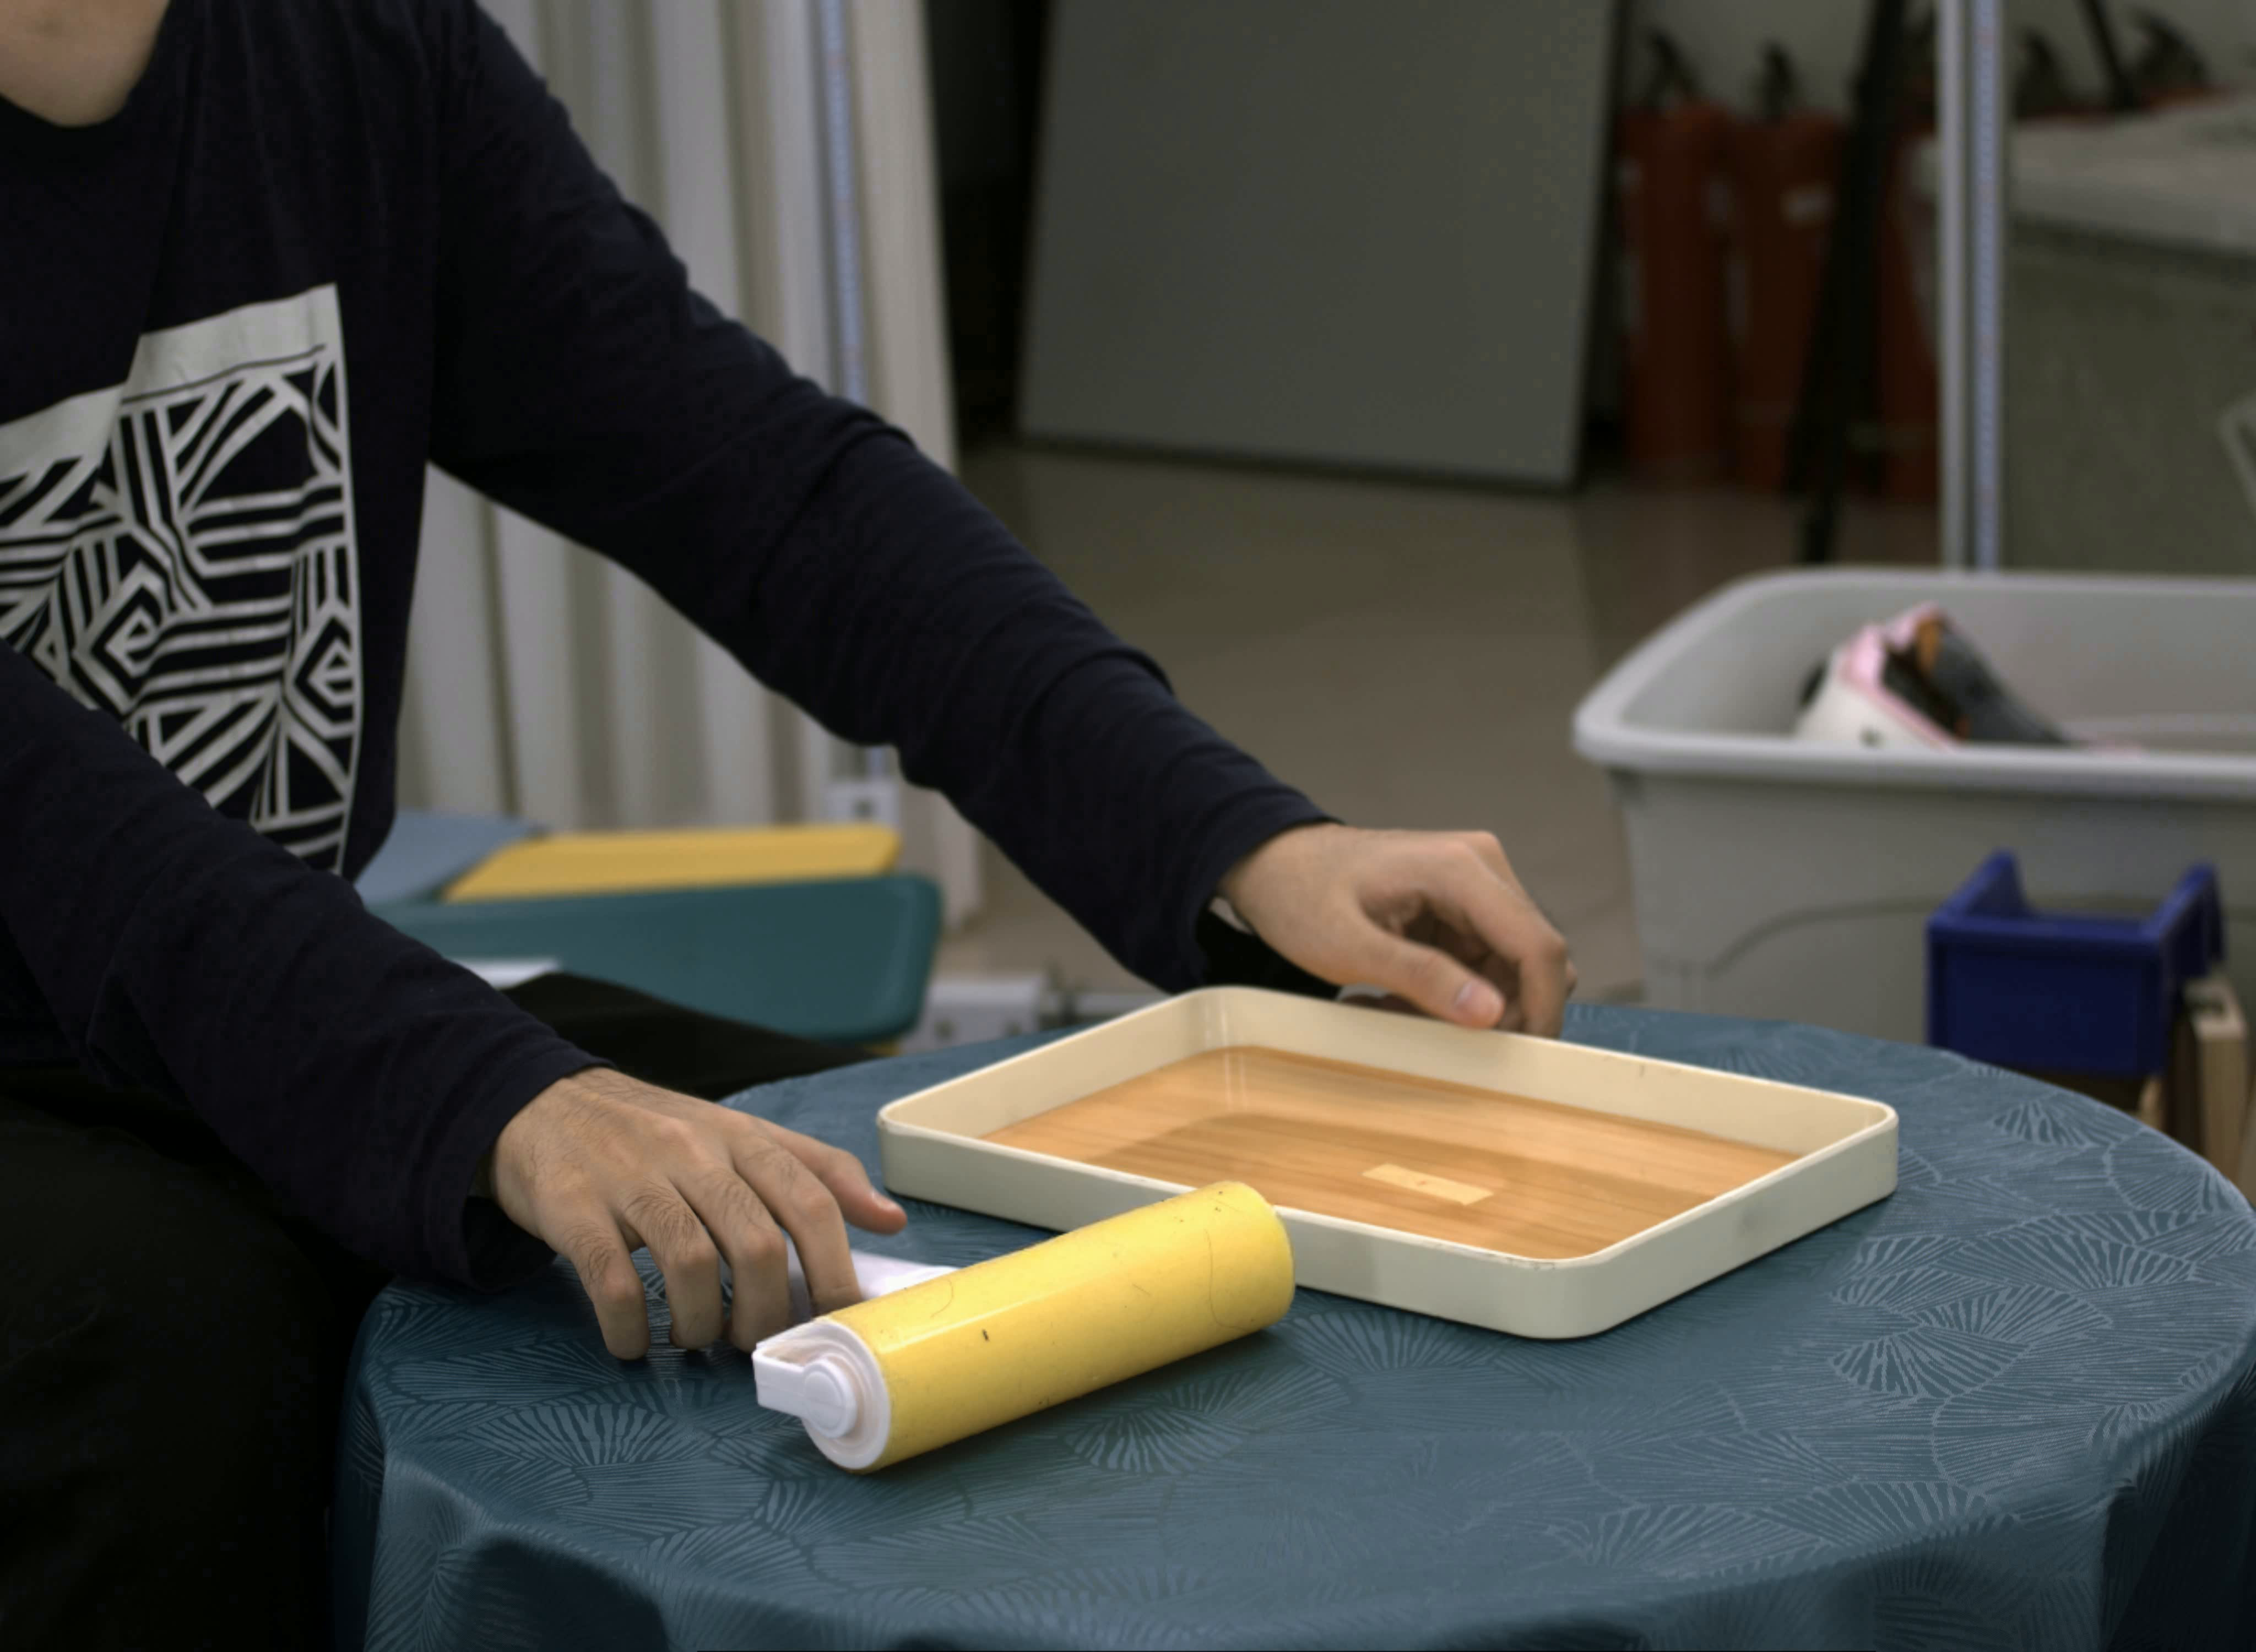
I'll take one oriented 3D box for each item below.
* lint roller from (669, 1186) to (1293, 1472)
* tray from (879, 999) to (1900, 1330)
[{"bbox_3d":[-0.073,0.132,1.629,0.170,0.052,0.194,-15,23,-41],"label":"lint roller"},{"bbox_3d":[0.083,0.107,1.755,0.303,0.028,0.188,8,17,42],"label":"tray"}]
